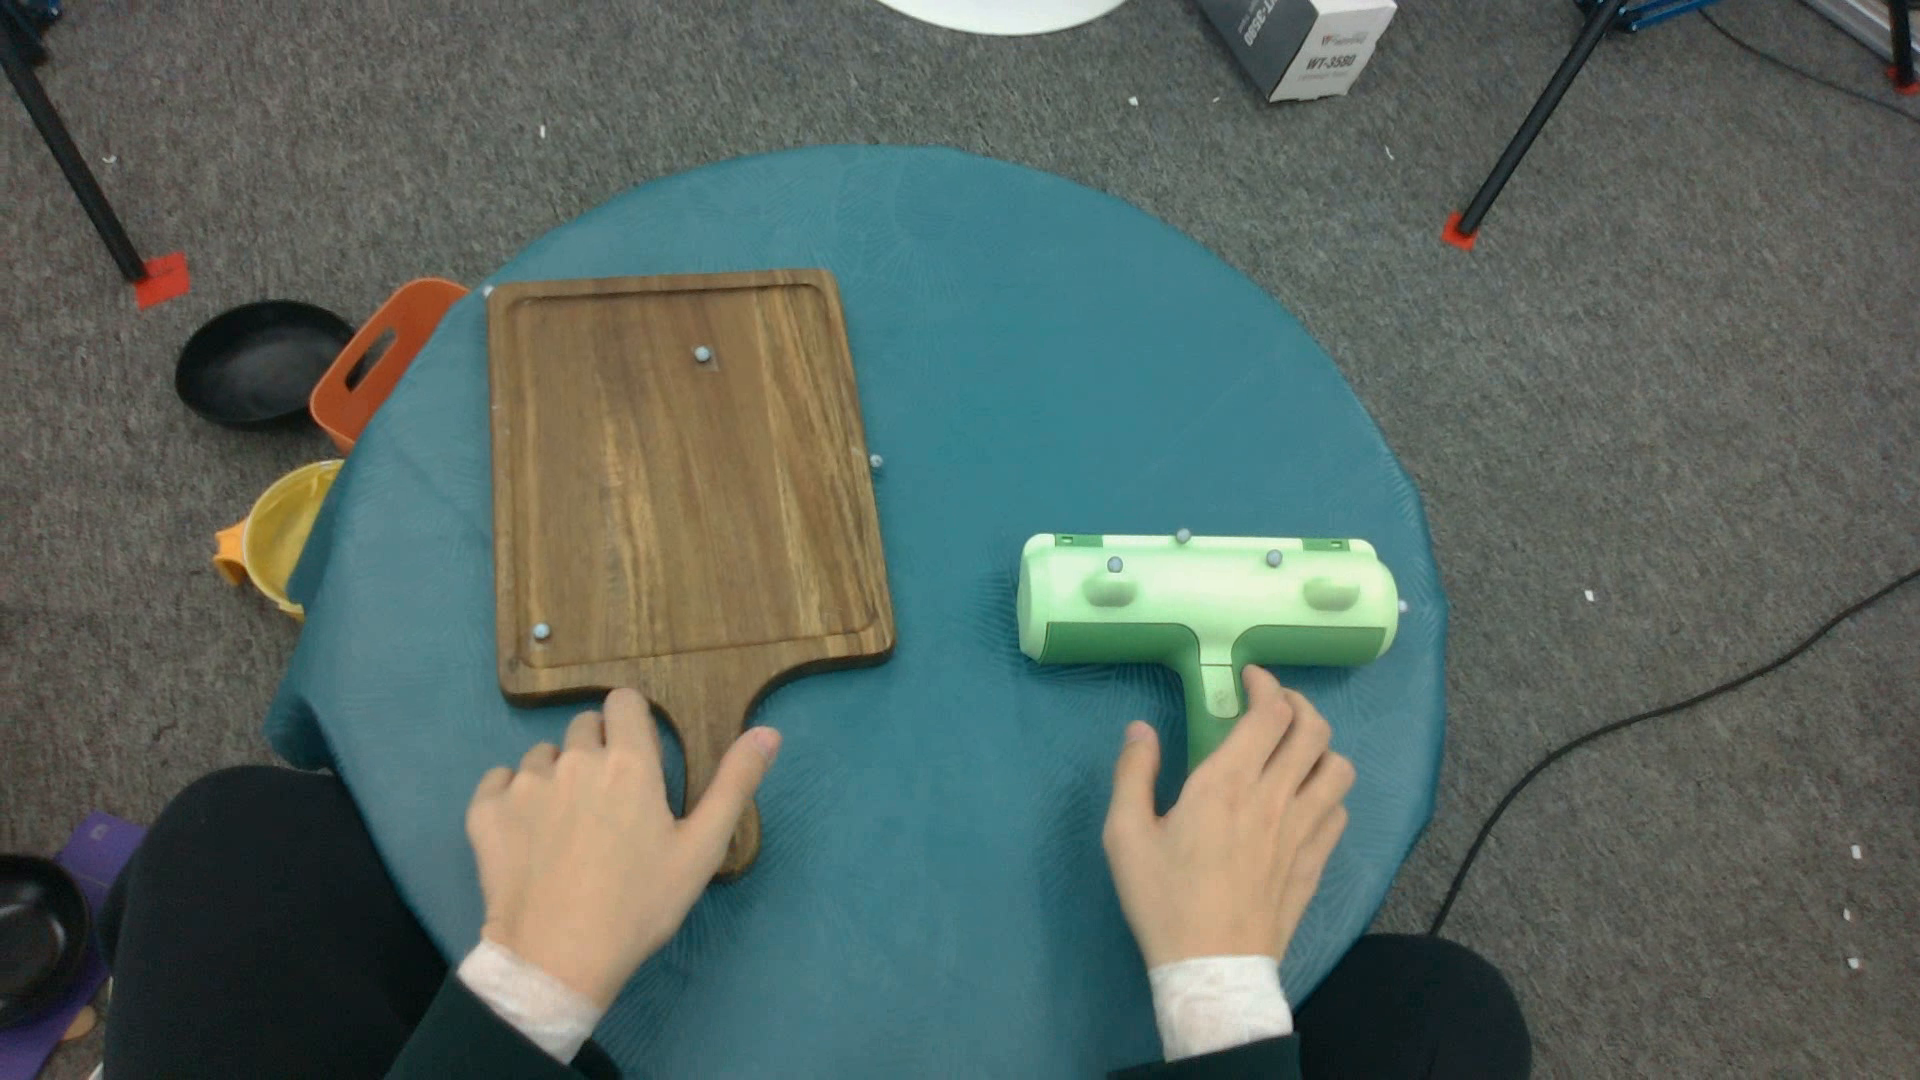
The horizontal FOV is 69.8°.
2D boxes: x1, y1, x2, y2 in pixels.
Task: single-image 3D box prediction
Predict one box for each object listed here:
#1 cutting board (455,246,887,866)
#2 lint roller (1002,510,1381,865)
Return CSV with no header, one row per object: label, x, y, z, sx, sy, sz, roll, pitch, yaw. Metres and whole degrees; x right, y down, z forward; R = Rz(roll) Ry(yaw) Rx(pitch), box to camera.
cutting board,-0.149,-0.004,0.720,0.201,0.023,0.353,-8,64,-12
lint roller,0.127,0.064,0.693,0.199,0.082,0.184,0,58,-8
